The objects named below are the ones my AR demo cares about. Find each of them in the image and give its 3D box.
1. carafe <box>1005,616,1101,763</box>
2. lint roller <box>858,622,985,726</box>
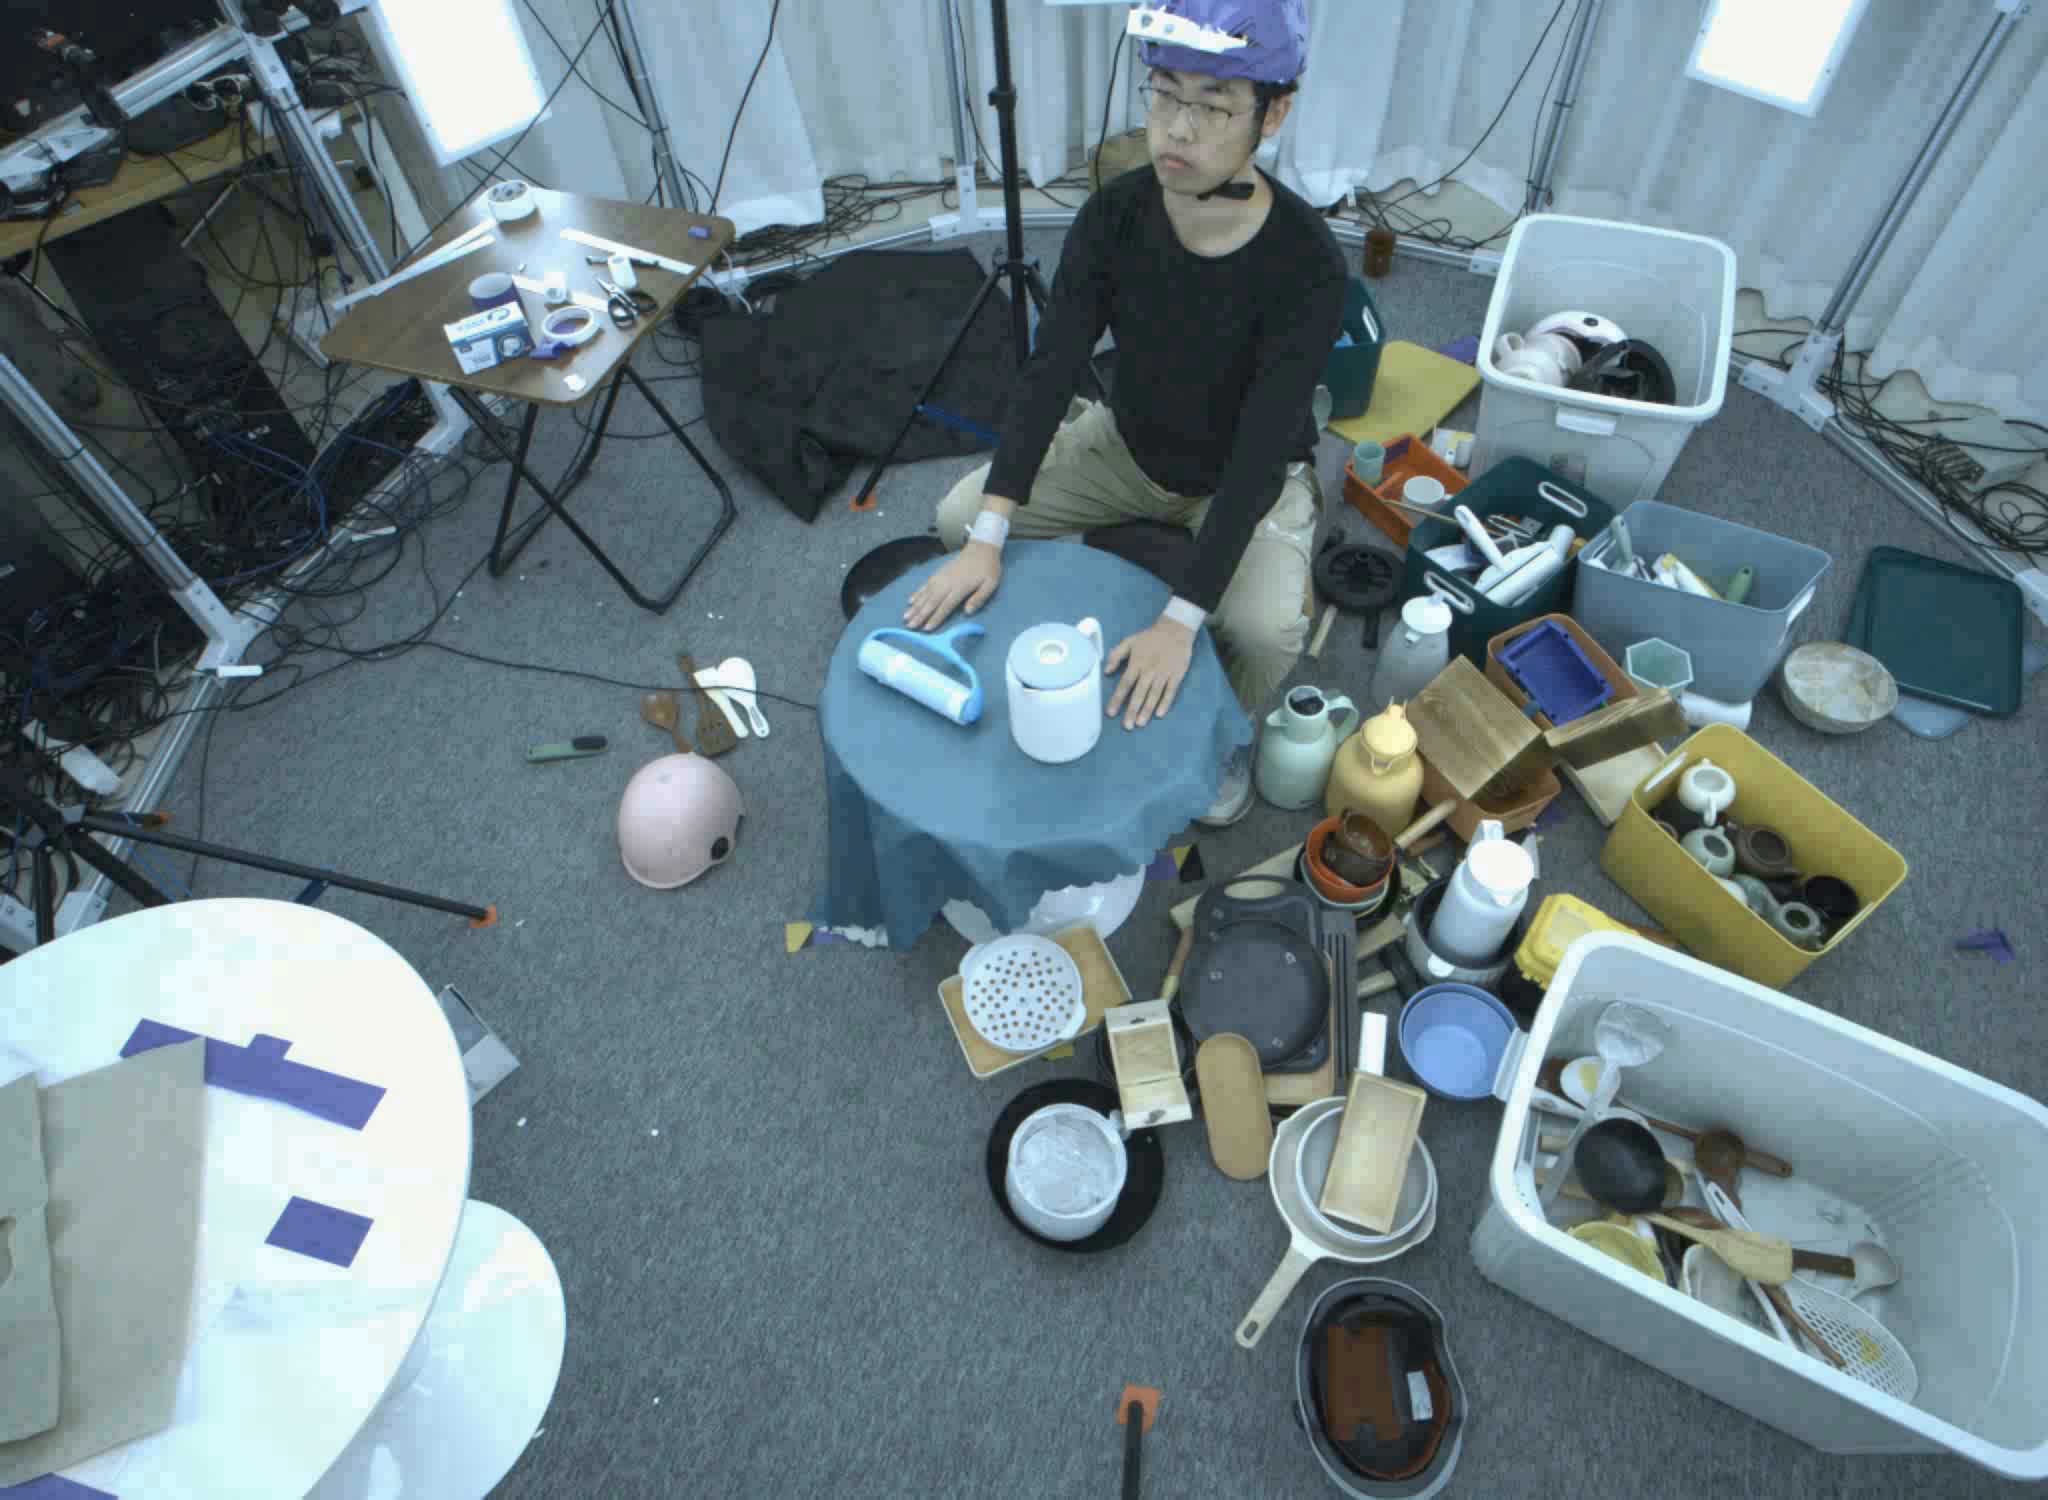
[{"bbox_3d":[0.055,-0.097,1.749,0.130,0.184,0.192,26,58,19],"label":"carafe"},{"bbox_3d":[-0.124,-0.145,1.858,0.225,0.069,0.181,26,64,22],"label":"lint roller"}]
